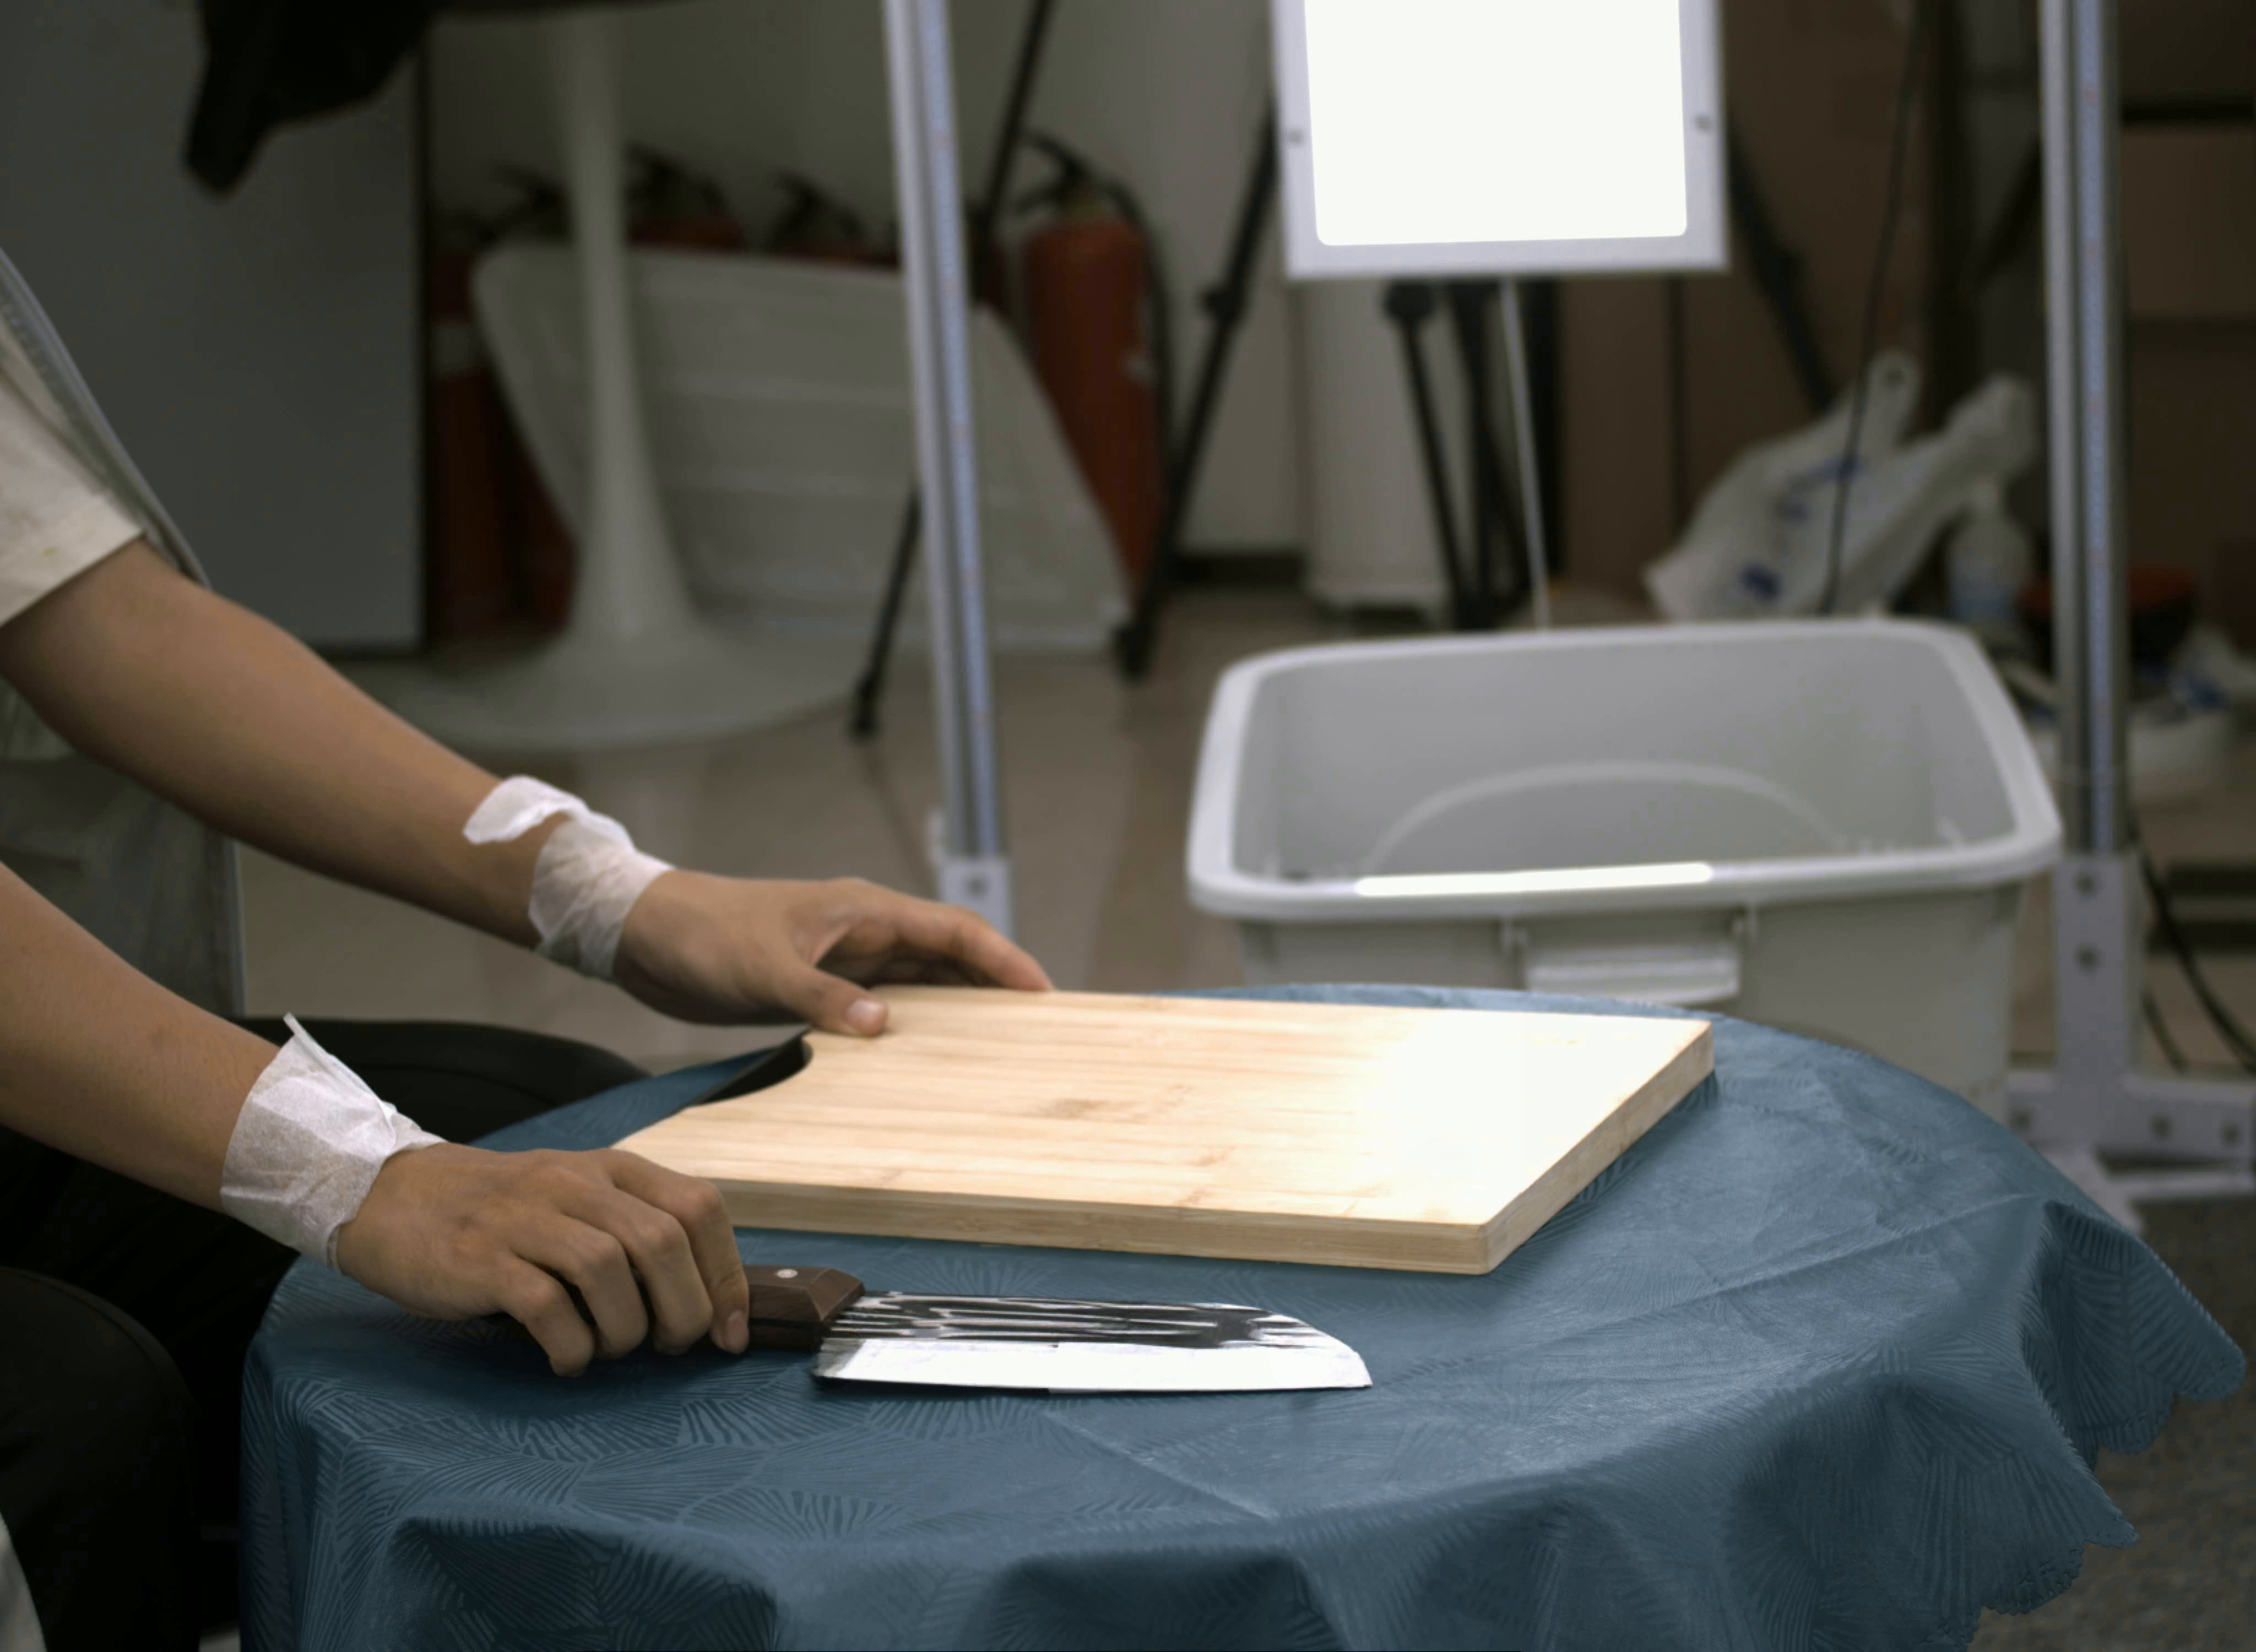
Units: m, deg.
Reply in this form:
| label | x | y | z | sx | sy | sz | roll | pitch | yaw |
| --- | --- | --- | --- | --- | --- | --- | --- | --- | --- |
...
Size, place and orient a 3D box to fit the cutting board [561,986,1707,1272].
| label | x | y | z | sx | sy | sz | roll | pitch | yaw |
| --- | --- | --- | --- | --- | --- | --- | --- | --- | --- |
| cutting board | 0.006 | 0.104 | 1.955 | 0.354 | 0.023 | 0.246 | 1 | 15 | 25 |

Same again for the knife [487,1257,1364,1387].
| label | x | y | z | sx | sy | sz | roll | pitch | yaw |
| --- | --- | --- | --- | --- | --- | --- | --- | --- | --- |
| knife | -0.068 | 0.160 | 1.742 | 0.302 | 0.024 | 0.067 | 1 | 18 | 15 |
